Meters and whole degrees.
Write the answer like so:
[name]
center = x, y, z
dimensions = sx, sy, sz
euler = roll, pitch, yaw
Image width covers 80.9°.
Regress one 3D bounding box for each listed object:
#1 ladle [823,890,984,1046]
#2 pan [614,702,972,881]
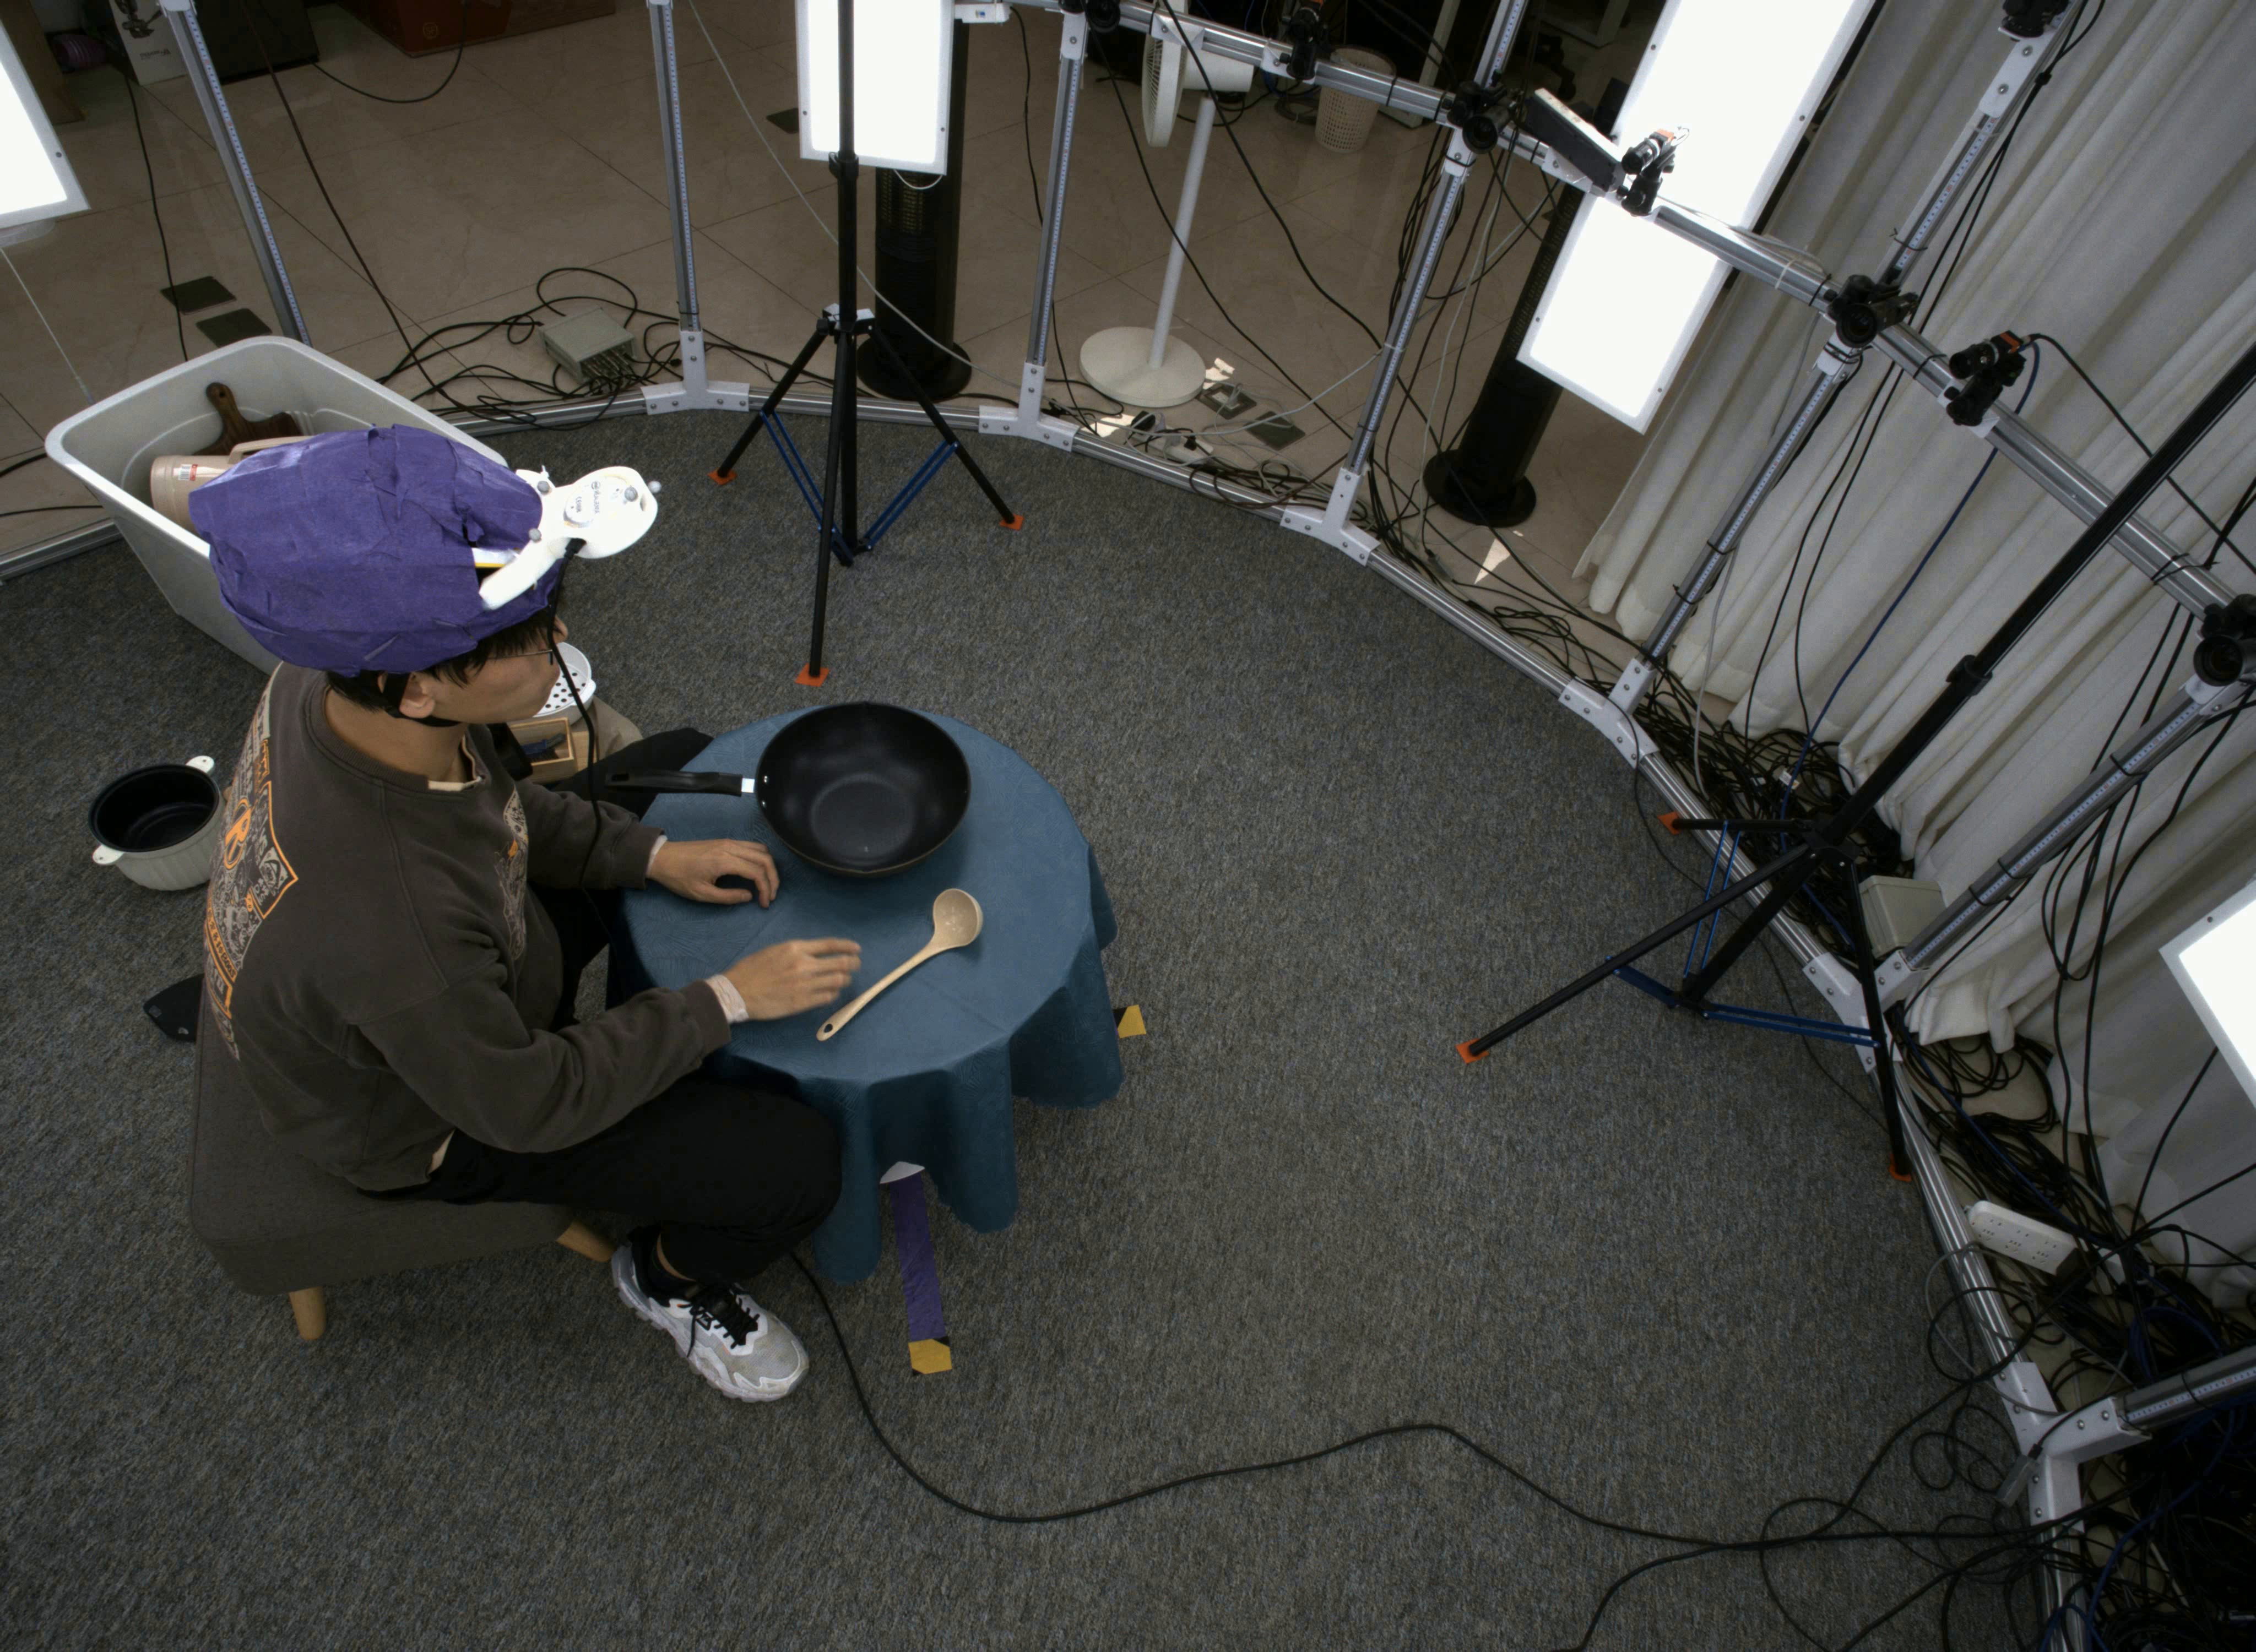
[ladle]
center = -0.278, 0.169, 1.603
dimensions = 0.071, 0.074, 0.254
euler = 40, 54, 12
[pan]
center = -0.437, -0.033, 1.707
dimensions = 0.463, 0.089, 0.282
euler = 0, 54, -12
